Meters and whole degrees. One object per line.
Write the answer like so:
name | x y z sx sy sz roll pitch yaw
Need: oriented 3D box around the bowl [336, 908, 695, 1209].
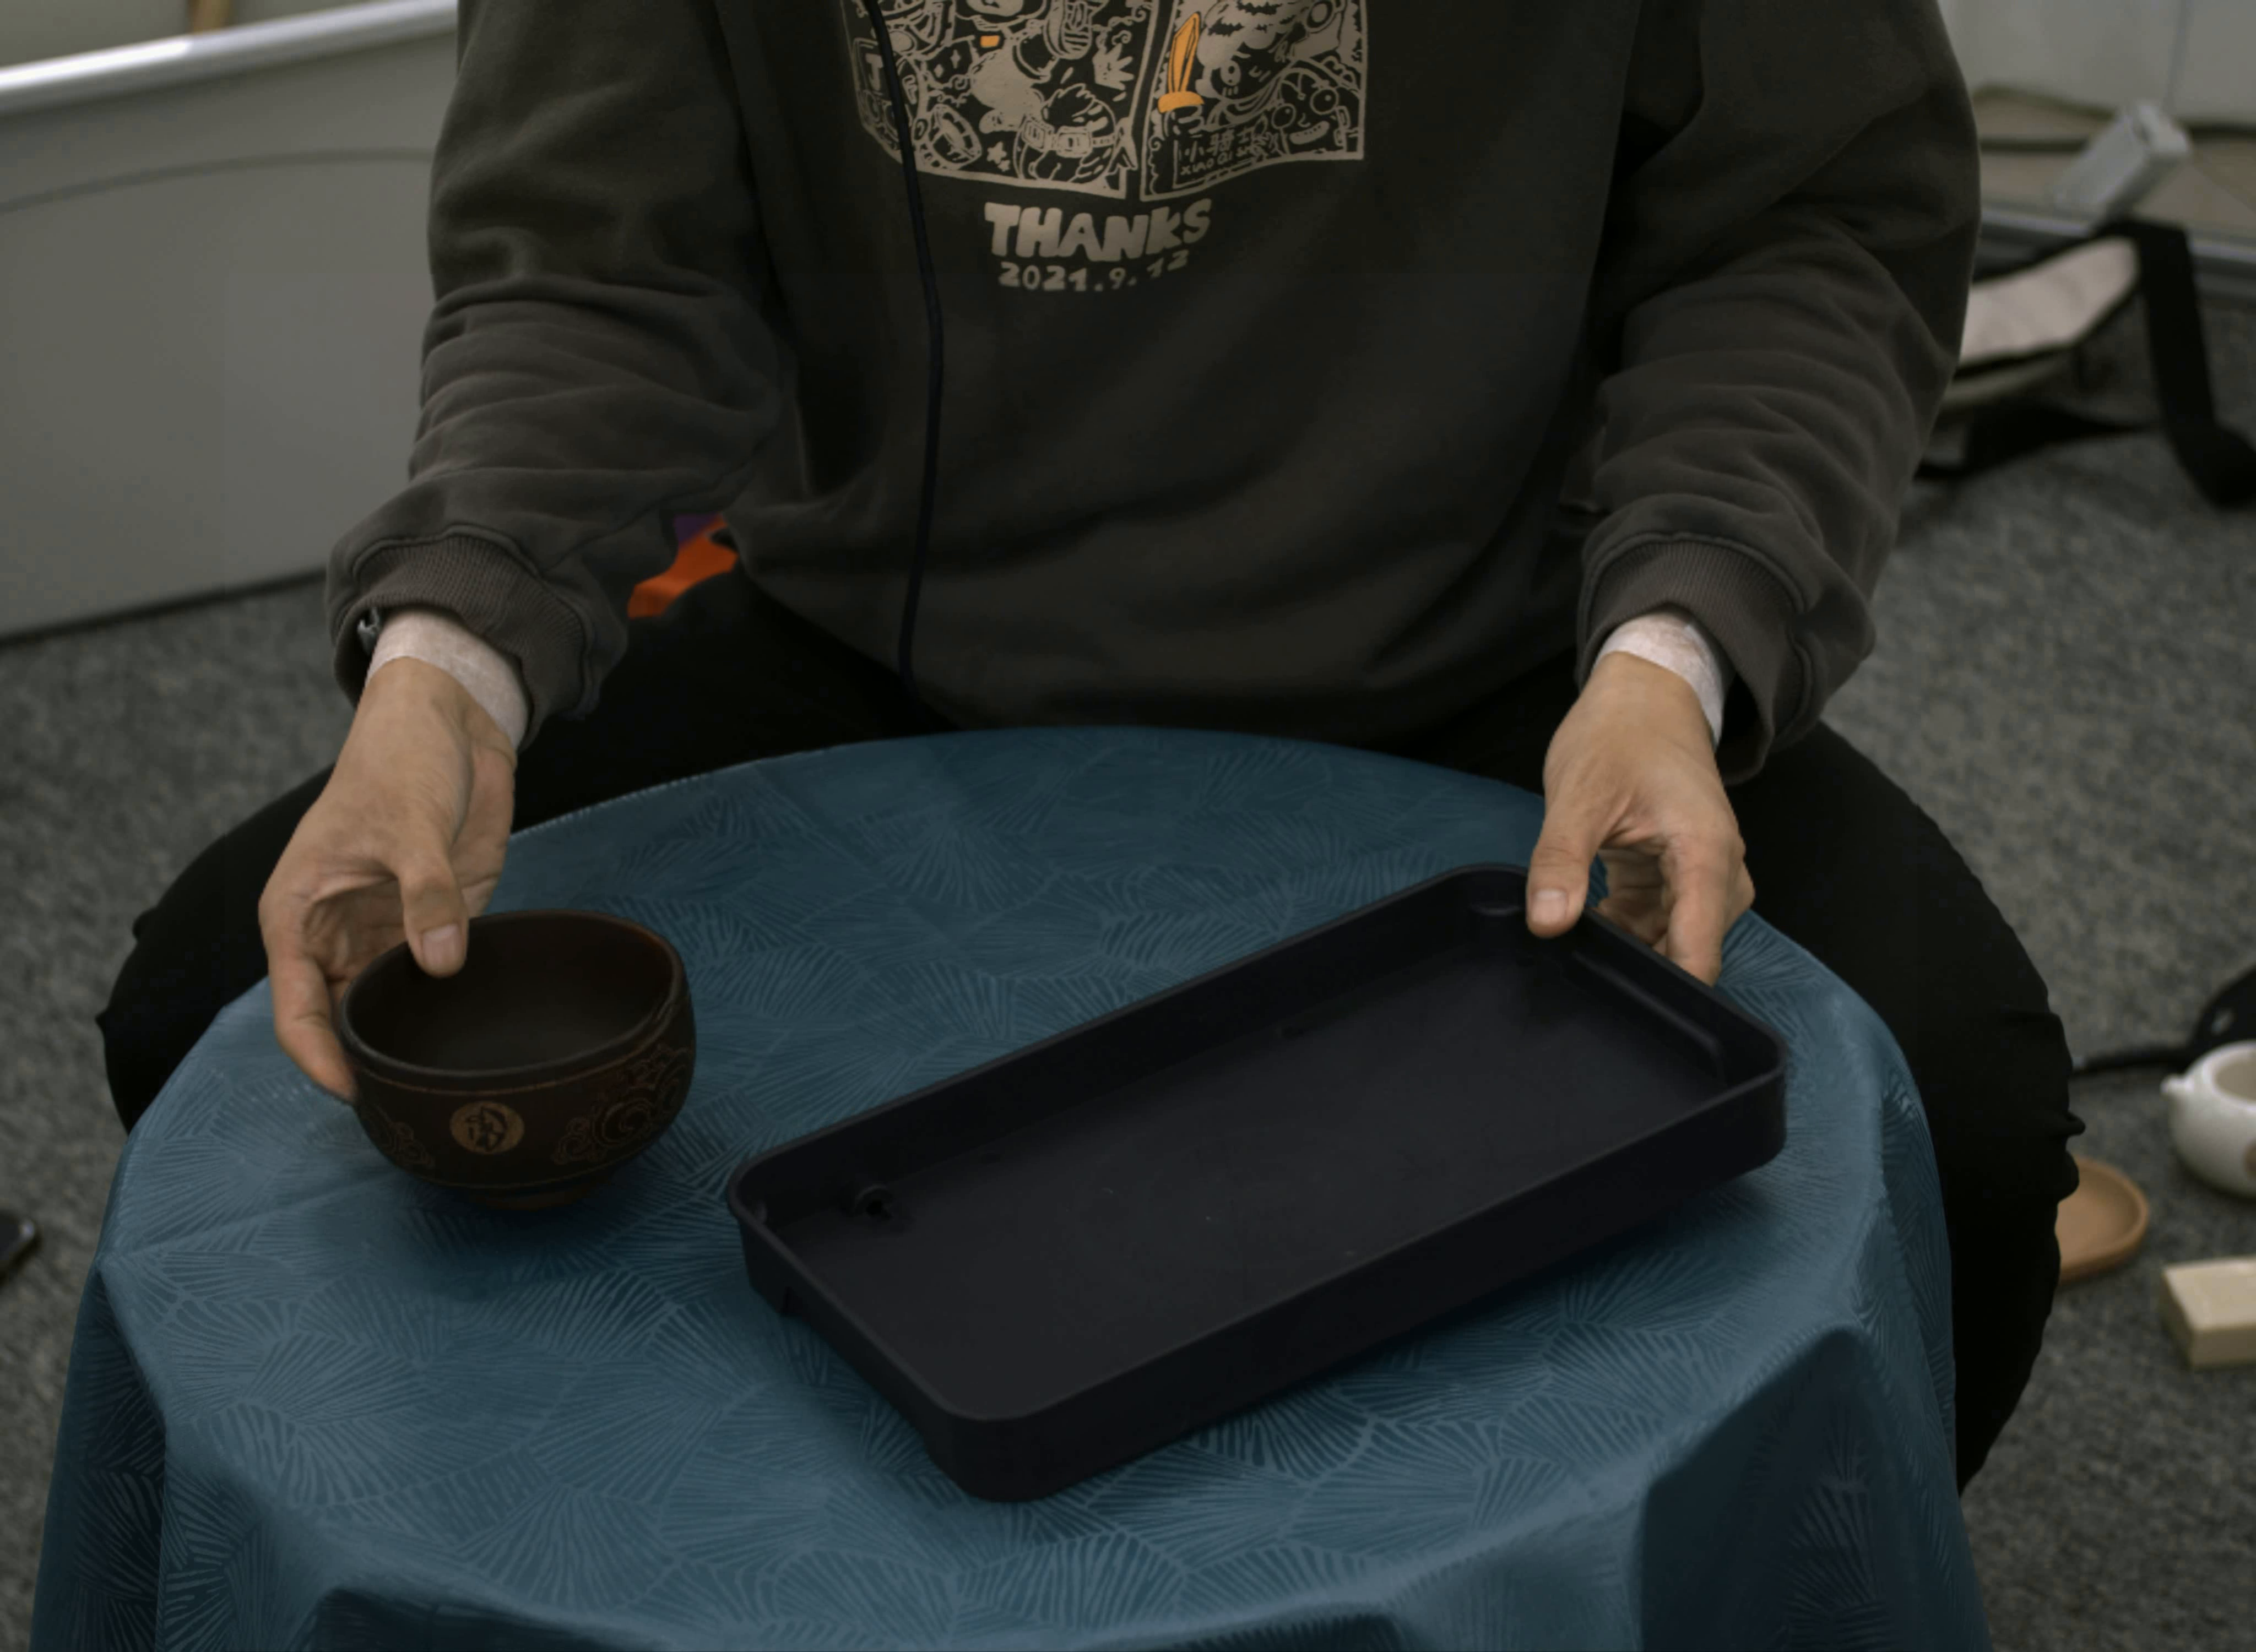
bowl | -0.201 0.084 1.867 0.117 0.069 0.119 -4 24 2

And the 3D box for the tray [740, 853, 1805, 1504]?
tray | 0.048 0.108 1.823 0.320 0.036 0.185 -23 33 -26
